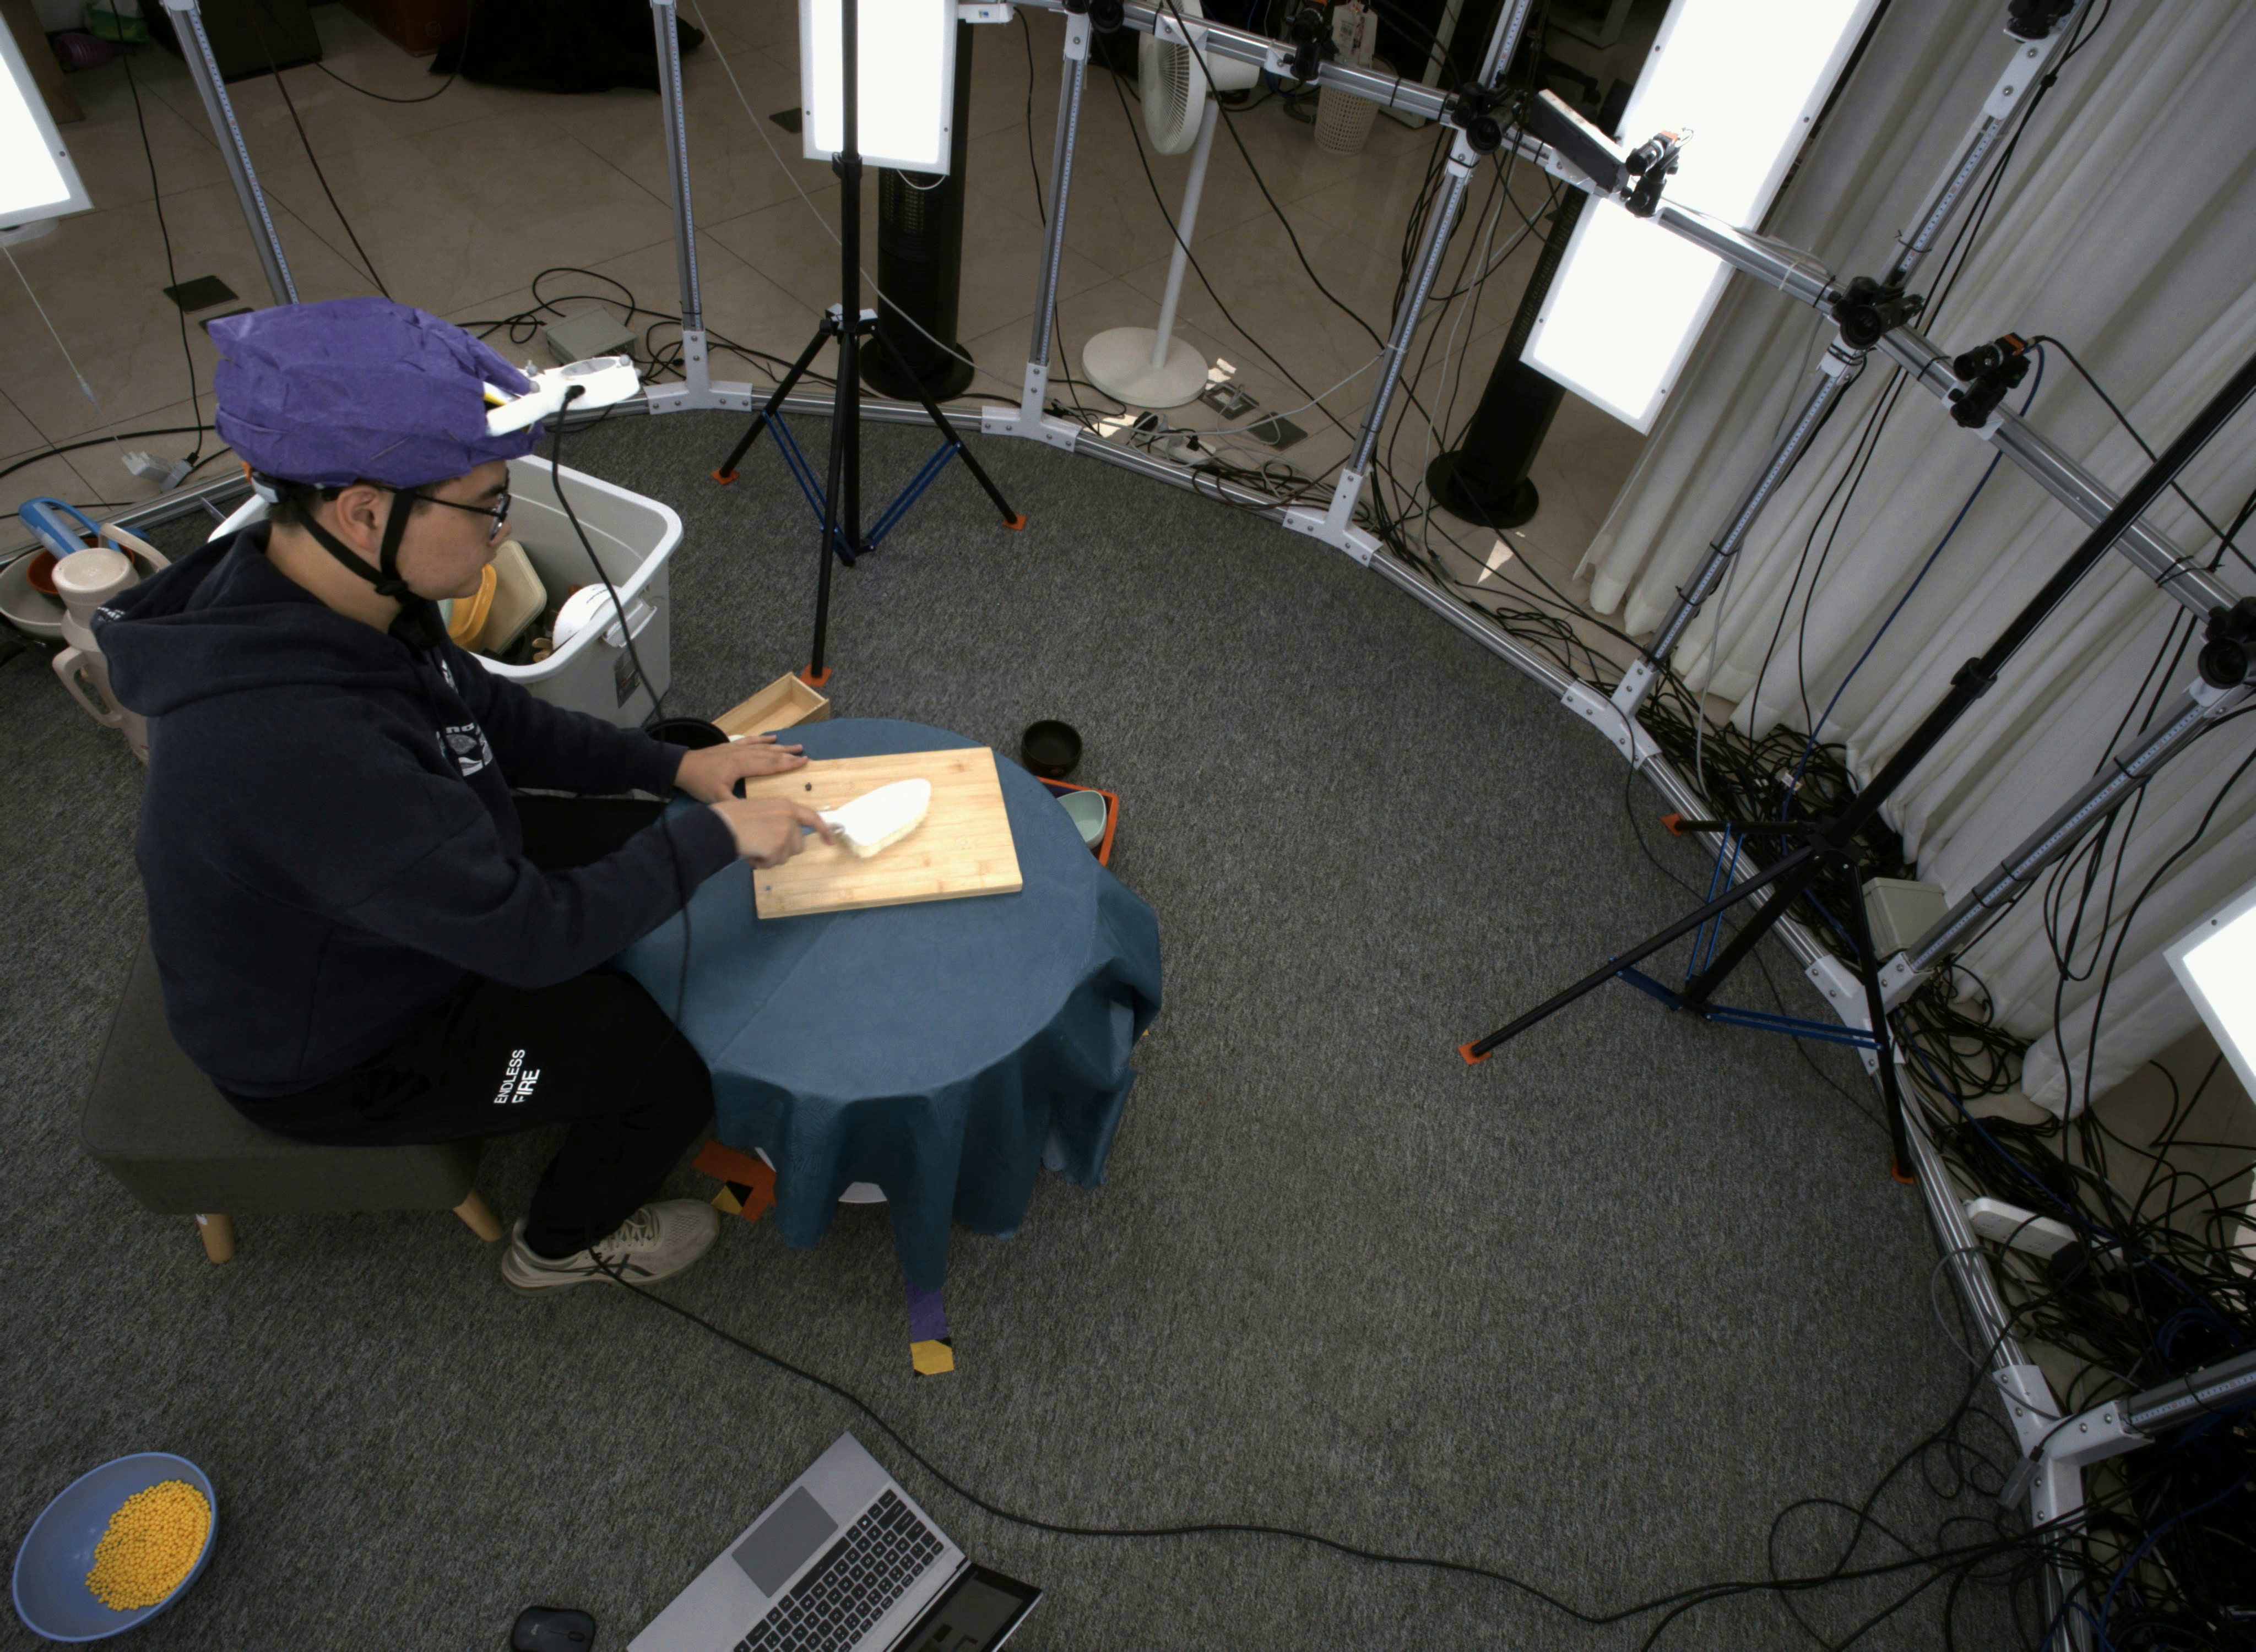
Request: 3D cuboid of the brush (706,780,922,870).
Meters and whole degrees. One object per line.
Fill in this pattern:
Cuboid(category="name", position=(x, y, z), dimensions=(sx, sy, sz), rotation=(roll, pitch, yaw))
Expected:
Cuboid(category="brush", position=(-0.395, 0.013, 1.635), dimensions=(0.080, 0.087, 0.328), rotation=(12, 25, 40))

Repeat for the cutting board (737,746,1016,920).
Cuboid(category="cutting board", position=(-0.334, 0.003, 1.730), dimensions=(0.350, 0.024, 0.244), rotation=(-6, 55, -18))
